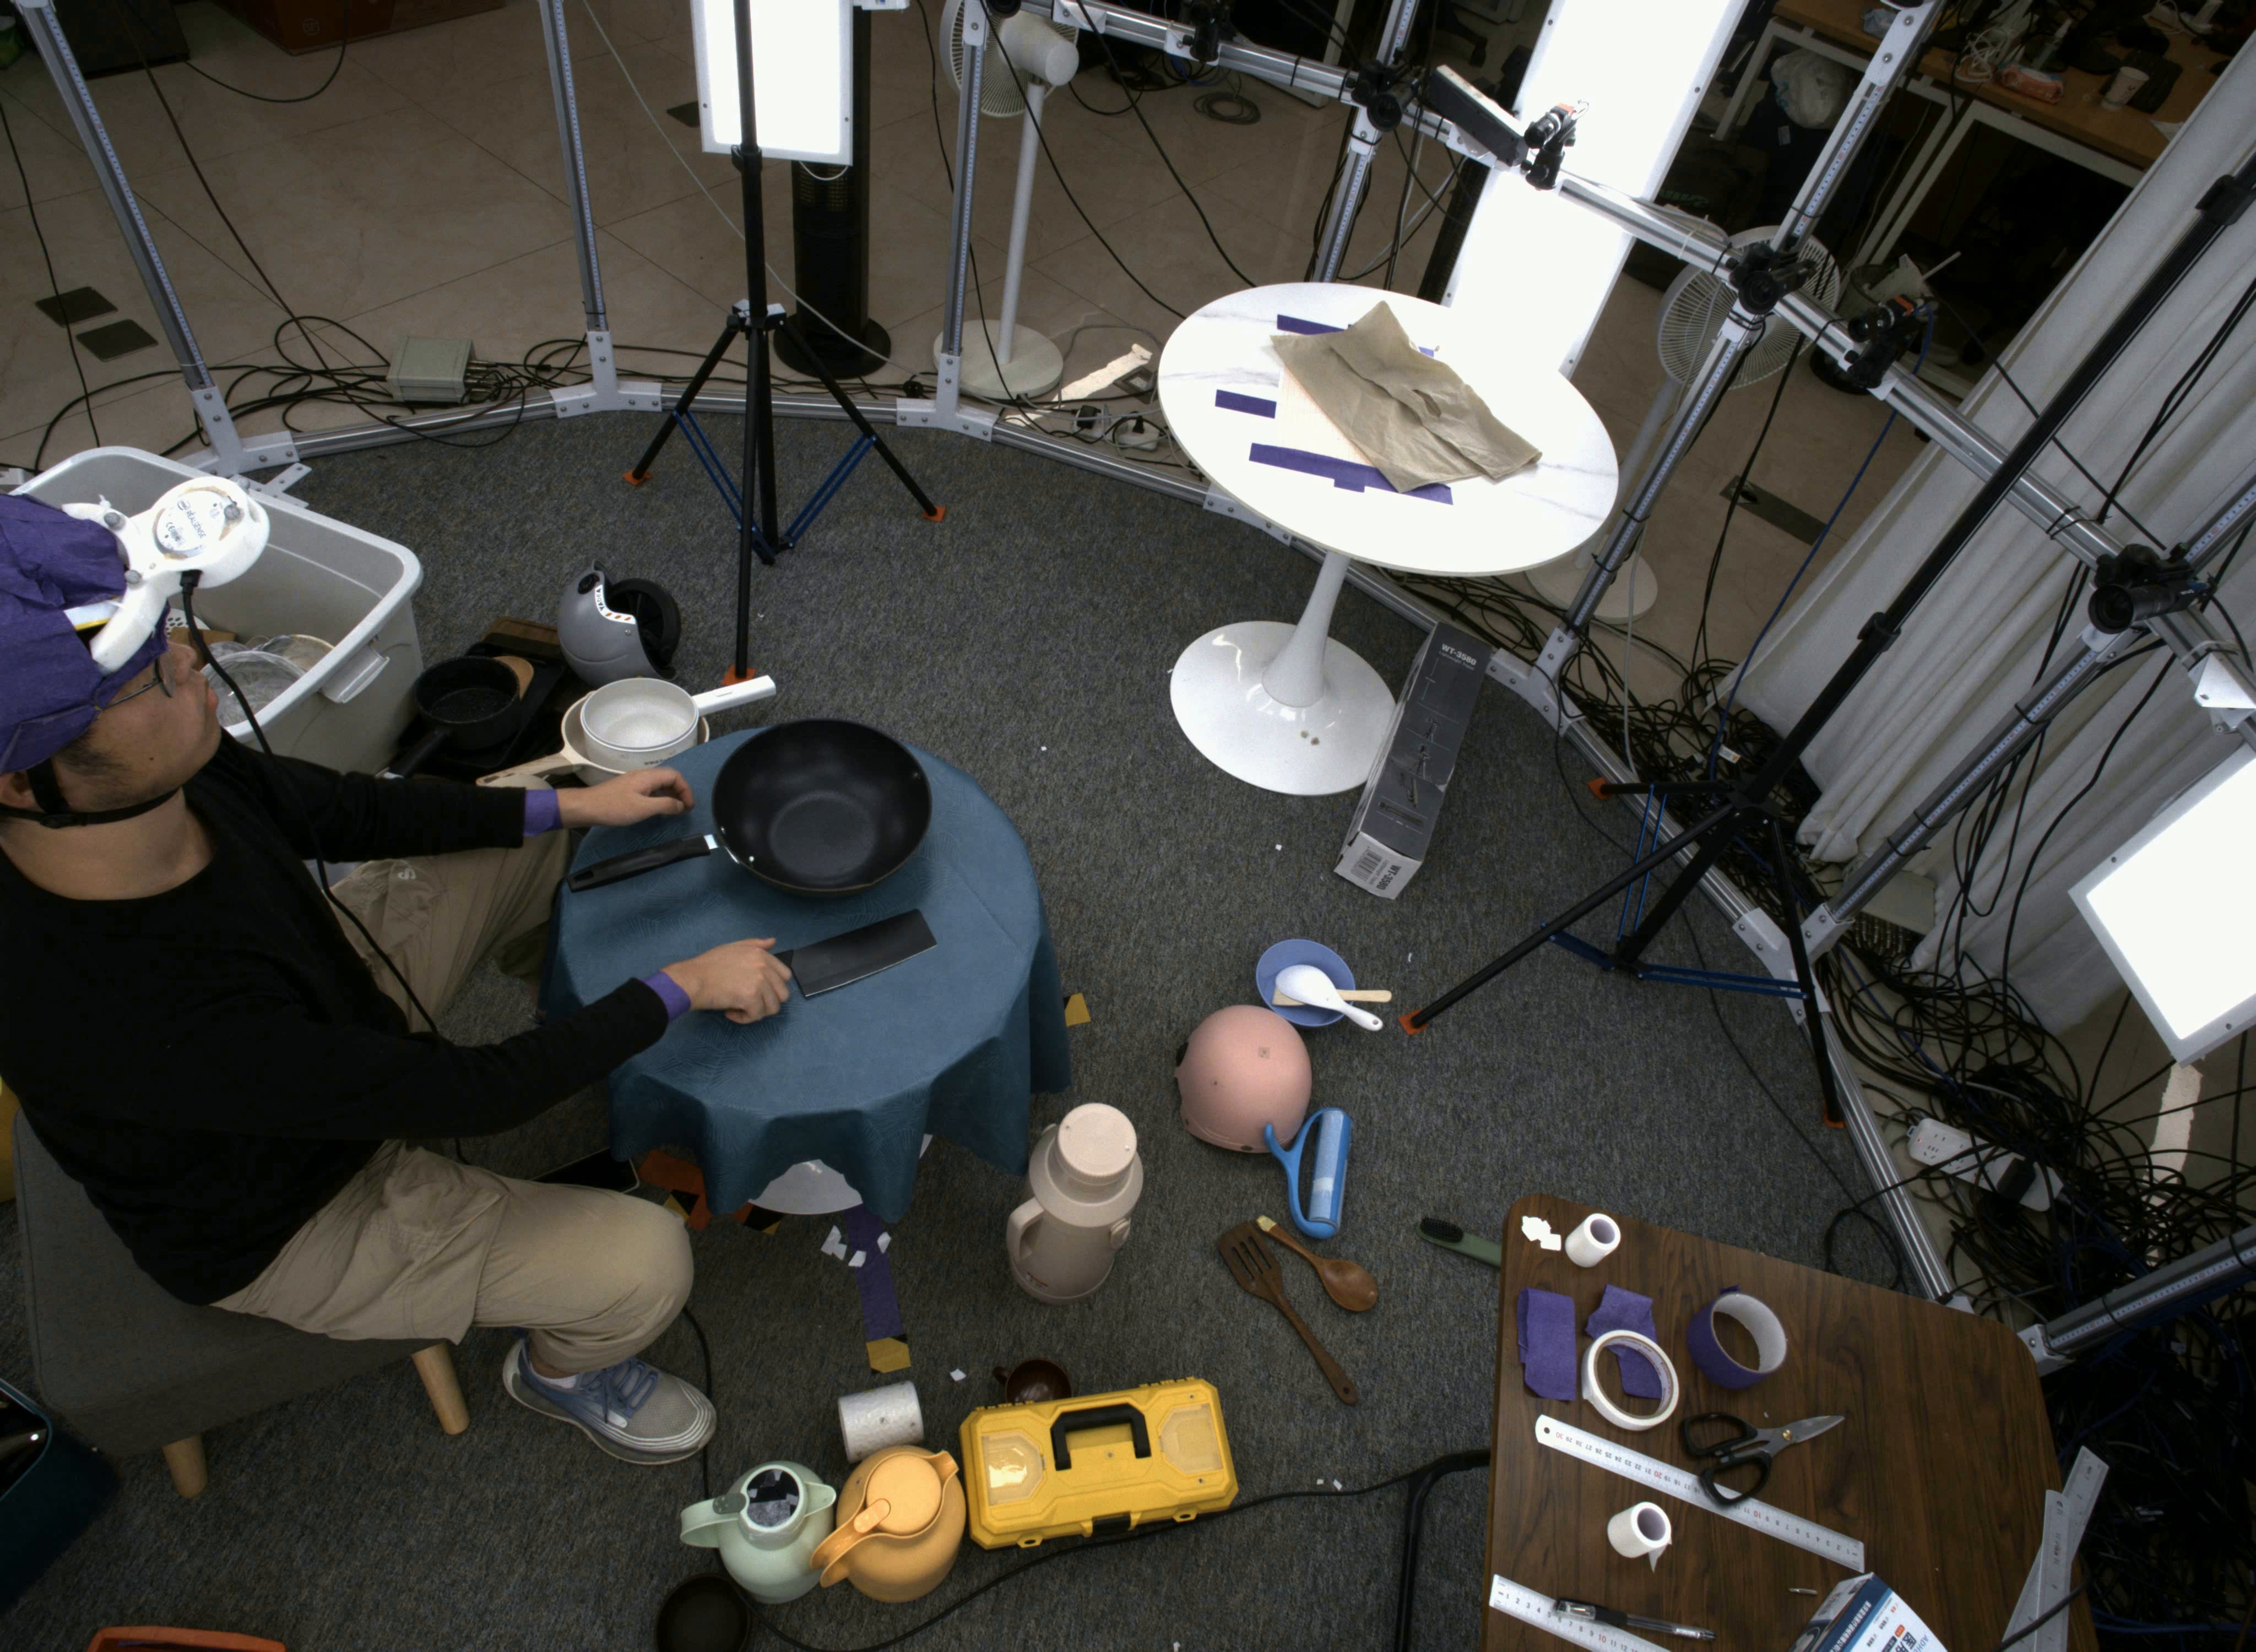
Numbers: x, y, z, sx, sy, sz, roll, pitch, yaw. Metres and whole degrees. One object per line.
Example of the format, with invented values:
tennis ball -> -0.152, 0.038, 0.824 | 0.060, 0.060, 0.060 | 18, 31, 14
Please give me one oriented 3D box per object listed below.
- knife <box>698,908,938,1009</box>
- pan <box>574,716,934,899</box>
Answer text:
knife -> -0.381, 0.167, 1.599 | 0.304, 0.021, 0.079 | -15, 60, -26
pan -> -0.471, 0.016, 1.644 | 0.465, 0.088, 0.281 | -20, 61, -26
